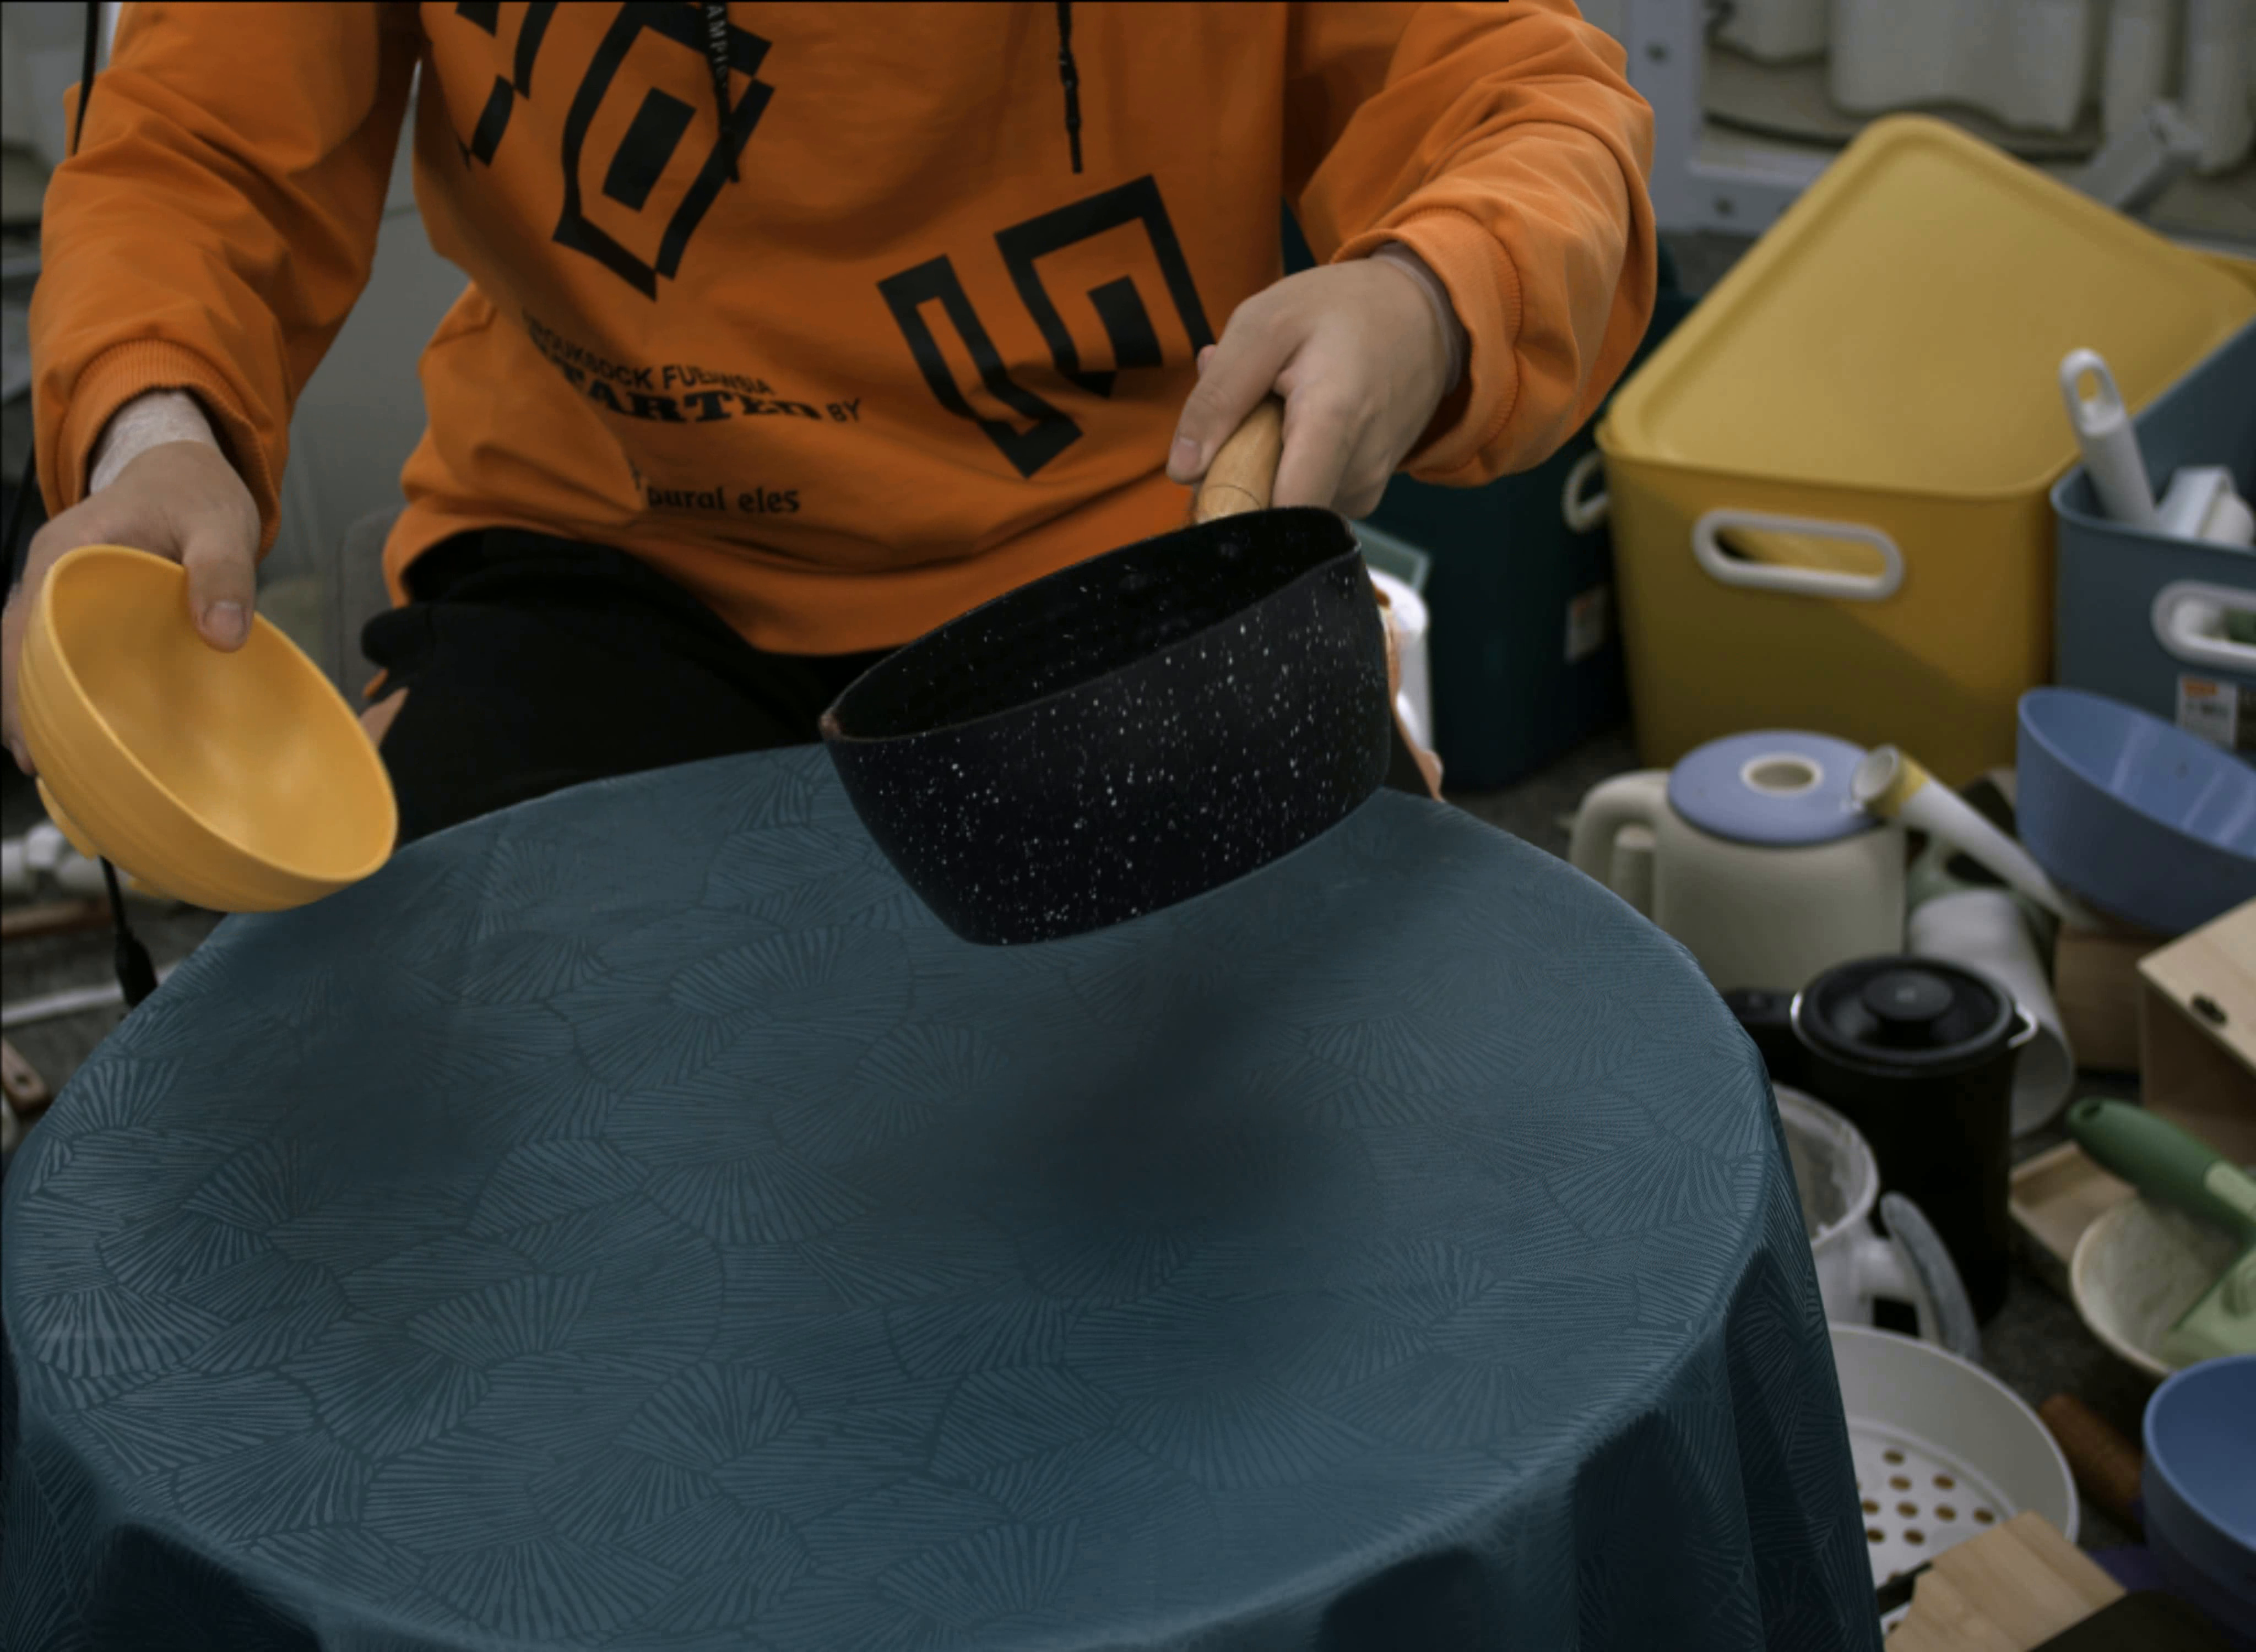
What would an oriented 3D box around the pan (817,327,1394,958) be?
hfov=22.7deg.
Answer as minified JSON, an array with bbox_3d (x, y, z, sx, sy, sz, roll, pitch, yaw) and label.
[{"bbox_3d":[0.021,-0.067,1.898,0.205,0.108,0.348,-16,16,24],"label":"pan"}]

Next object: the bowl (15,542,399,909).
[{"bbox_3d":[-0.313,-0.020,1.848,0.145,0.059,0.147,38,21,-16],"label":"bowl"}]
